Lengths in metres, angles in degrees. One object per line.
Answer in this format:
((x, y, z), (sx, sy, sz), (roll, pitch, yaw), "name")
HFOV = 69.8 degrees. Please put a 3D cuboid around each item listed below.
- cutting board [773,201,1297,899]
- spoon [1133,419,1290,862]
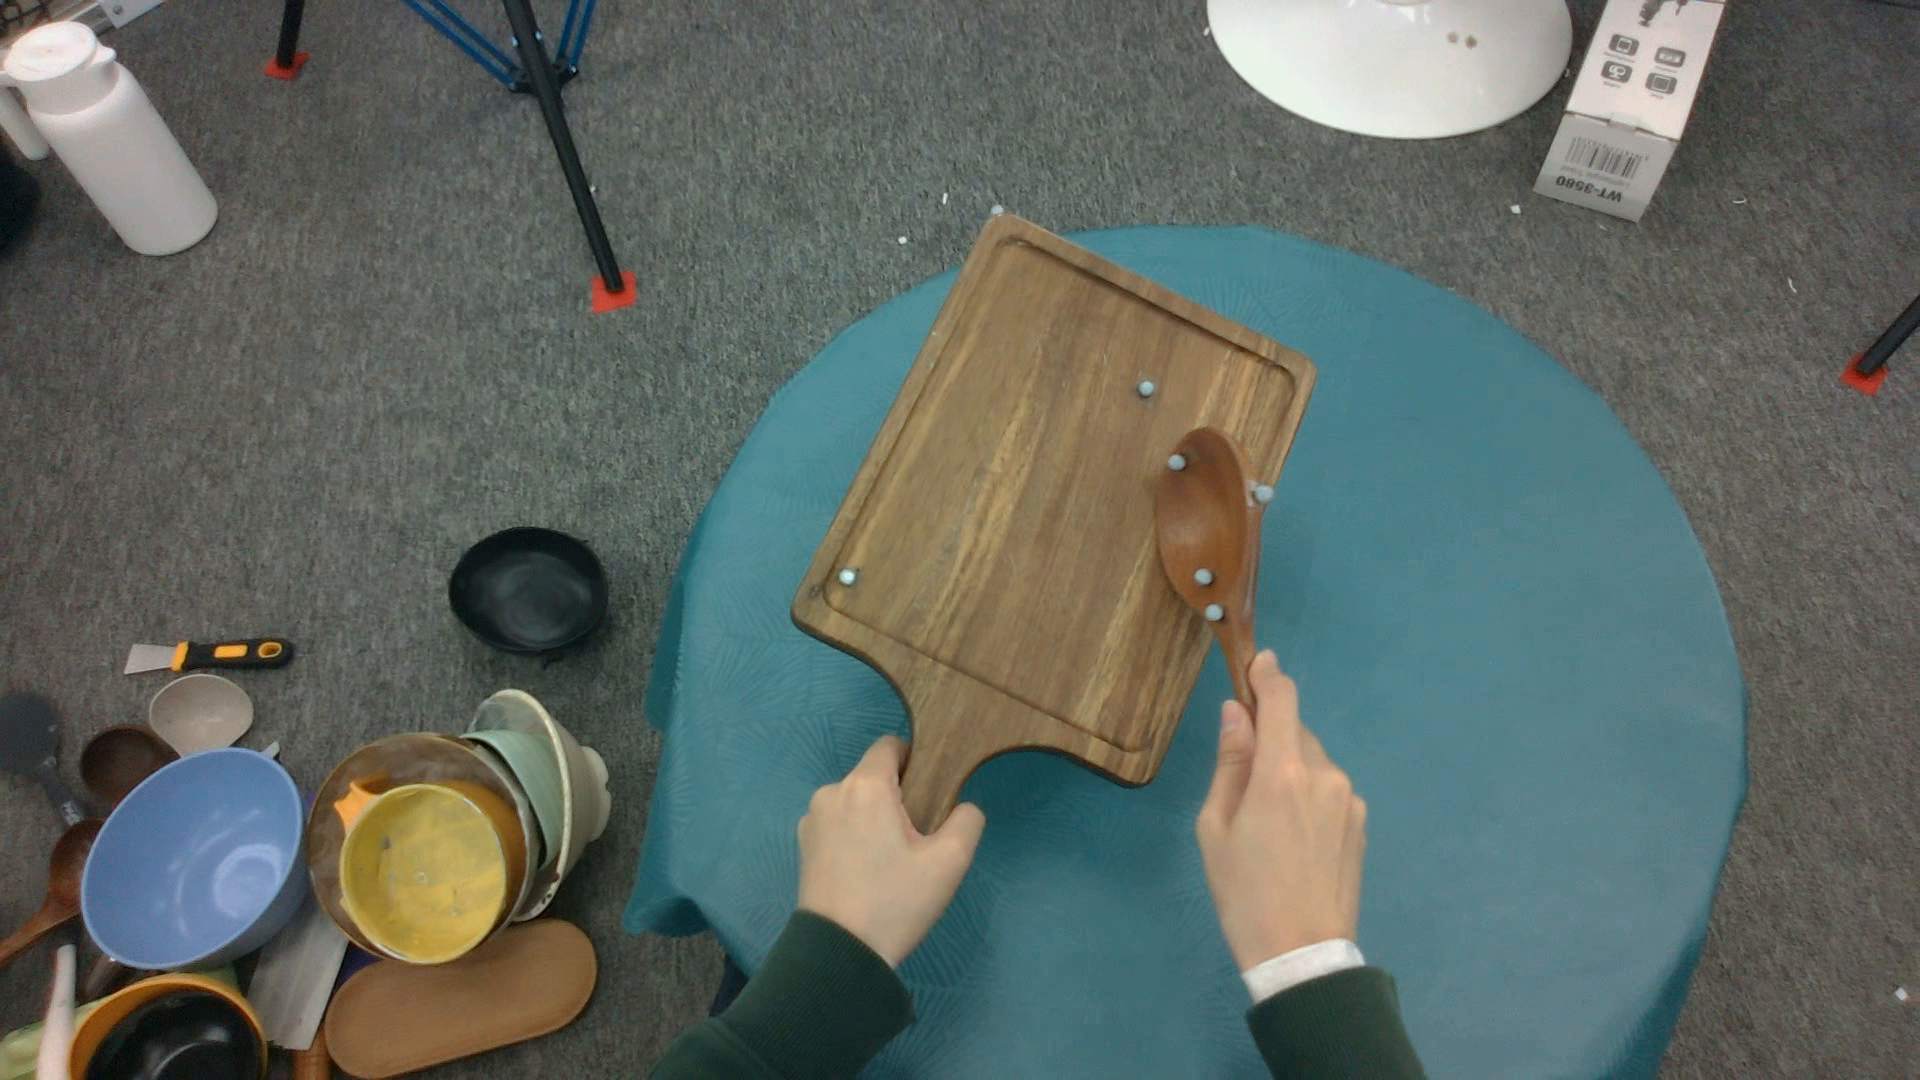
((0.025, 0.011, 0.687), (0.201, 0.023, 0.353), (26, 72, -3), "cutting board")
((0.121, 0.041, 0.640), (0.017, 0.075, 0.216), (9, 60, -31), "spoon")
